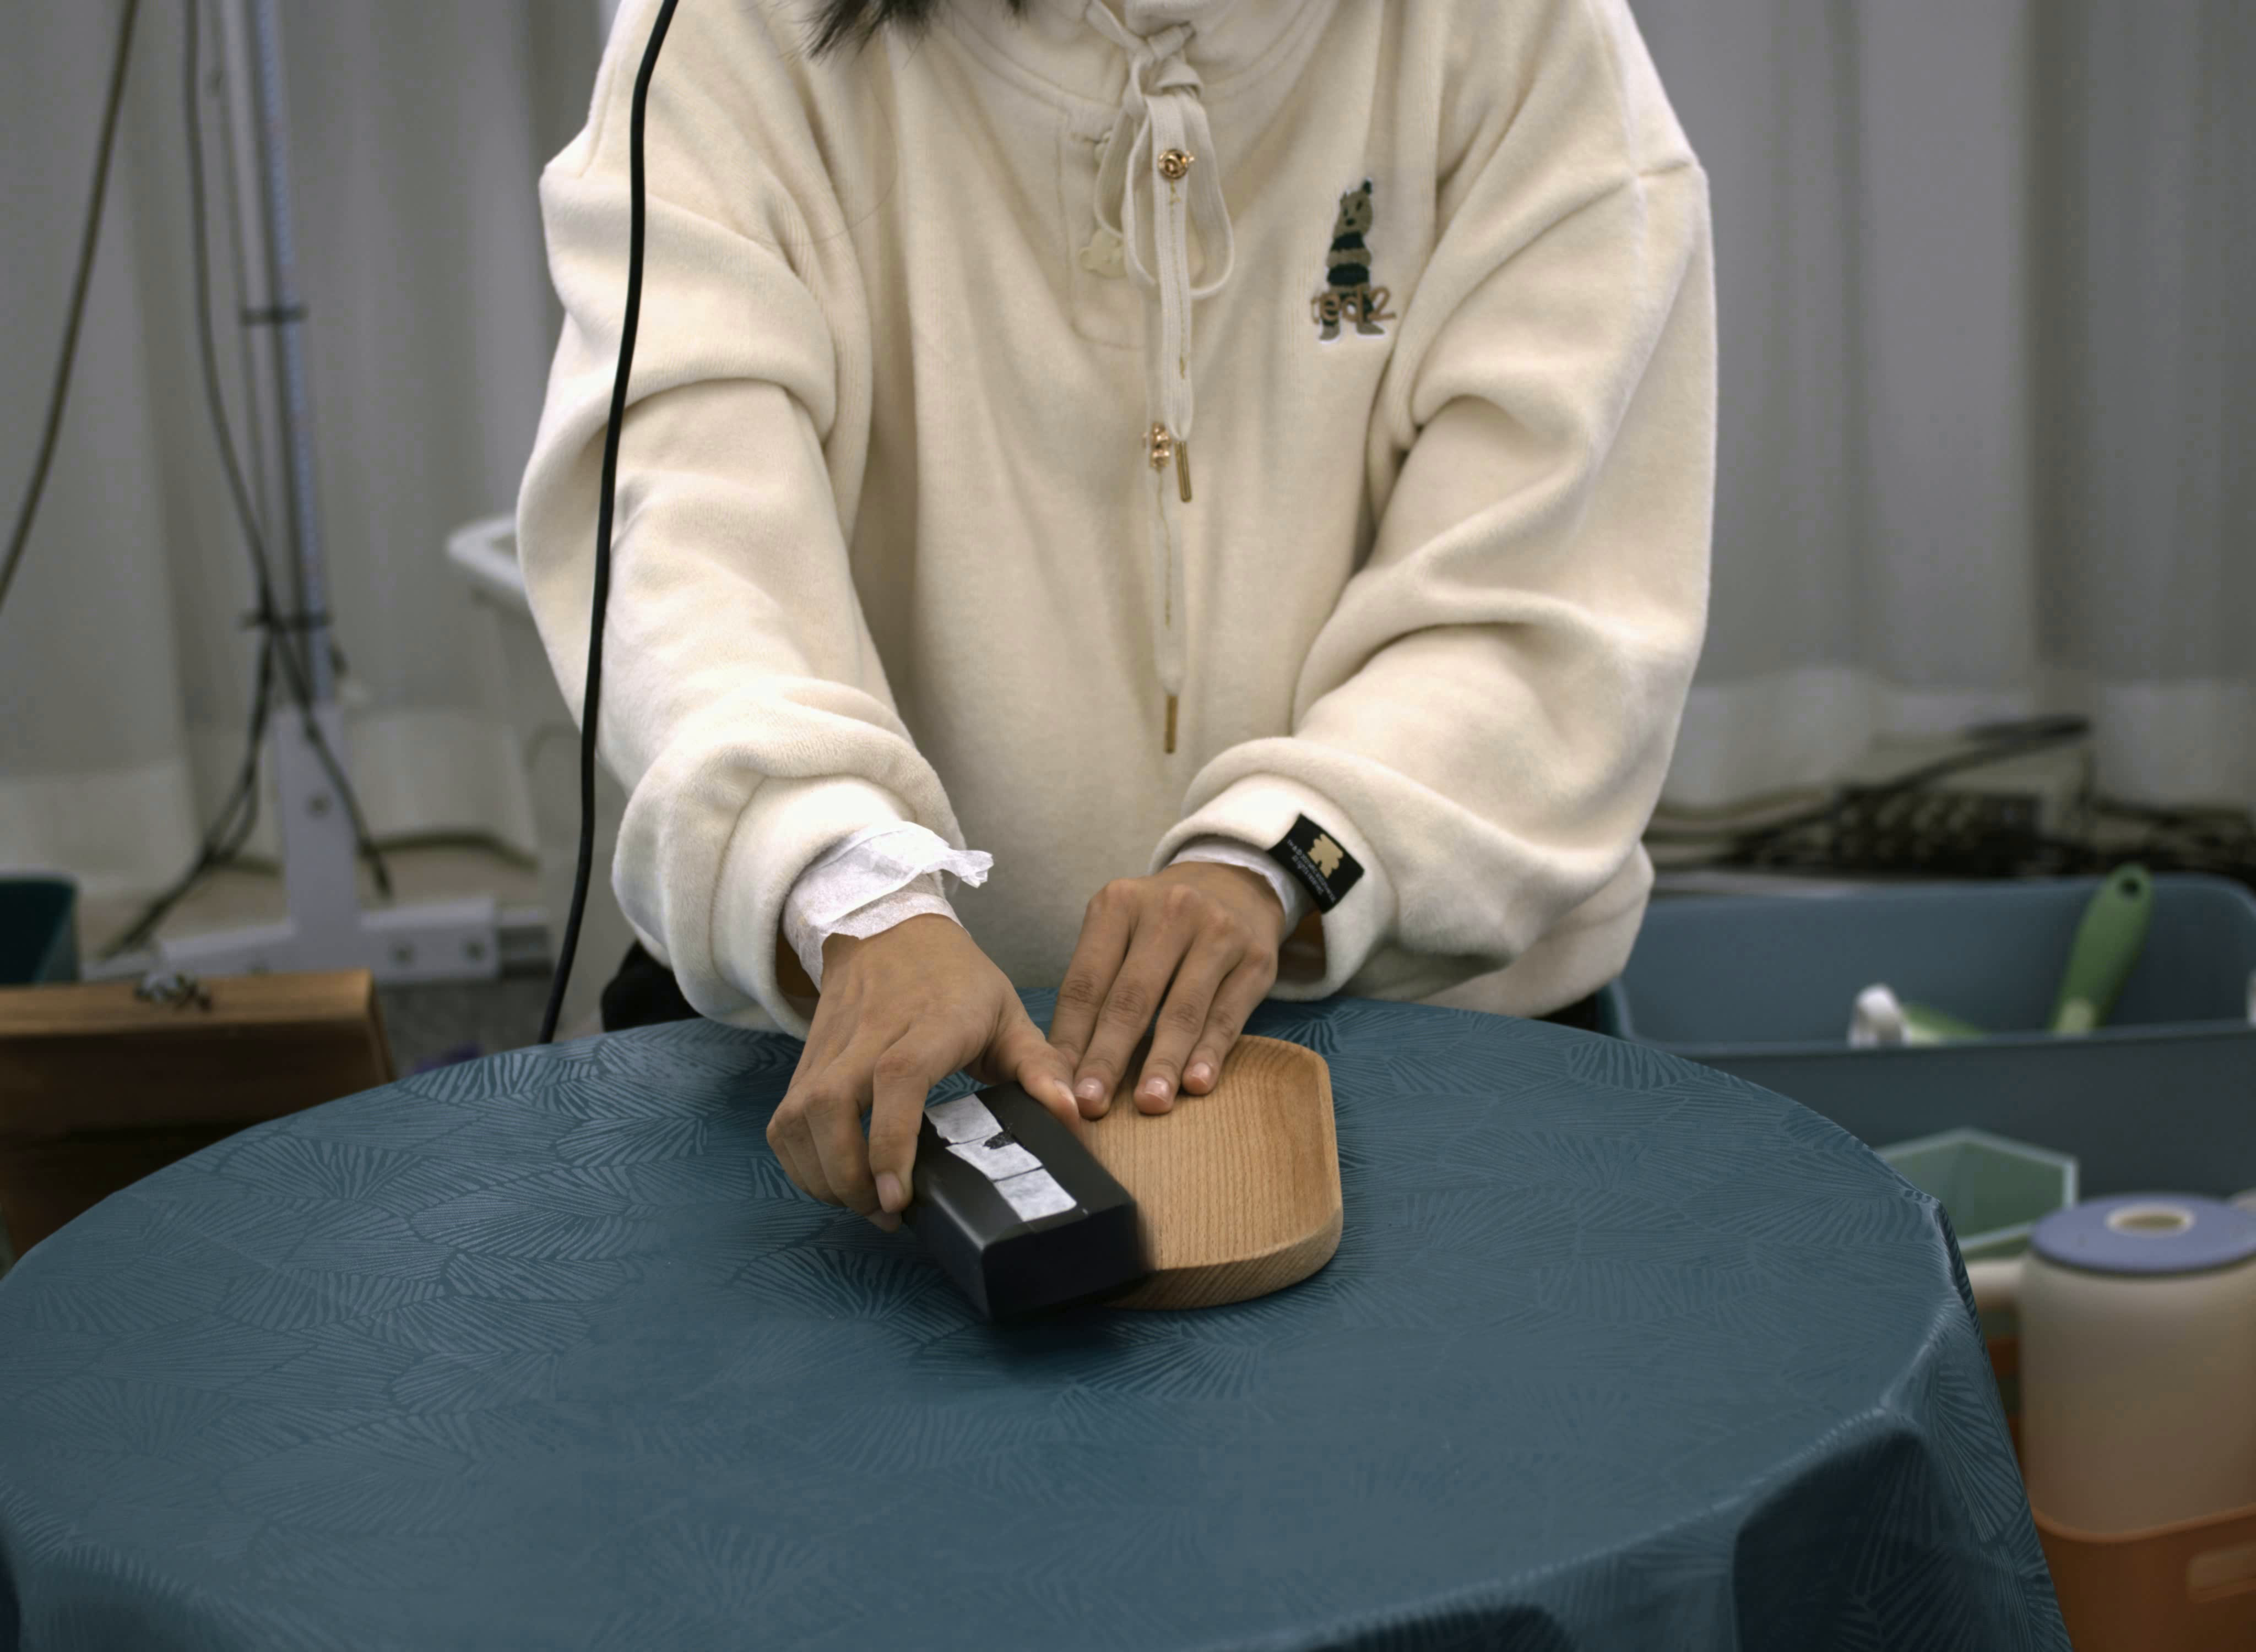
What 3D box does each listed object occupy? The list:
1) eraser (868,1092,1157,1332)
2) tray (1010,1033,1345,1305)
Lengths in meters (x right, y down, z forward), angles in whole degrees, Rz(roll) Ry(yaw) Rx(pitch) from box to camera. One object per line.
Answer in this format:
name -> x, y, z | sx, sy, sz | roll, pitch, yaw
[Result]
eraser -> -0.034, 0.113, 1.620 | 0.053, 0.030, 0.126 | -10, 18, -16
tray -> 0.014, 0.105, 1.716 | 0.101, 0.020, 0.232 | -3, 13, -1
